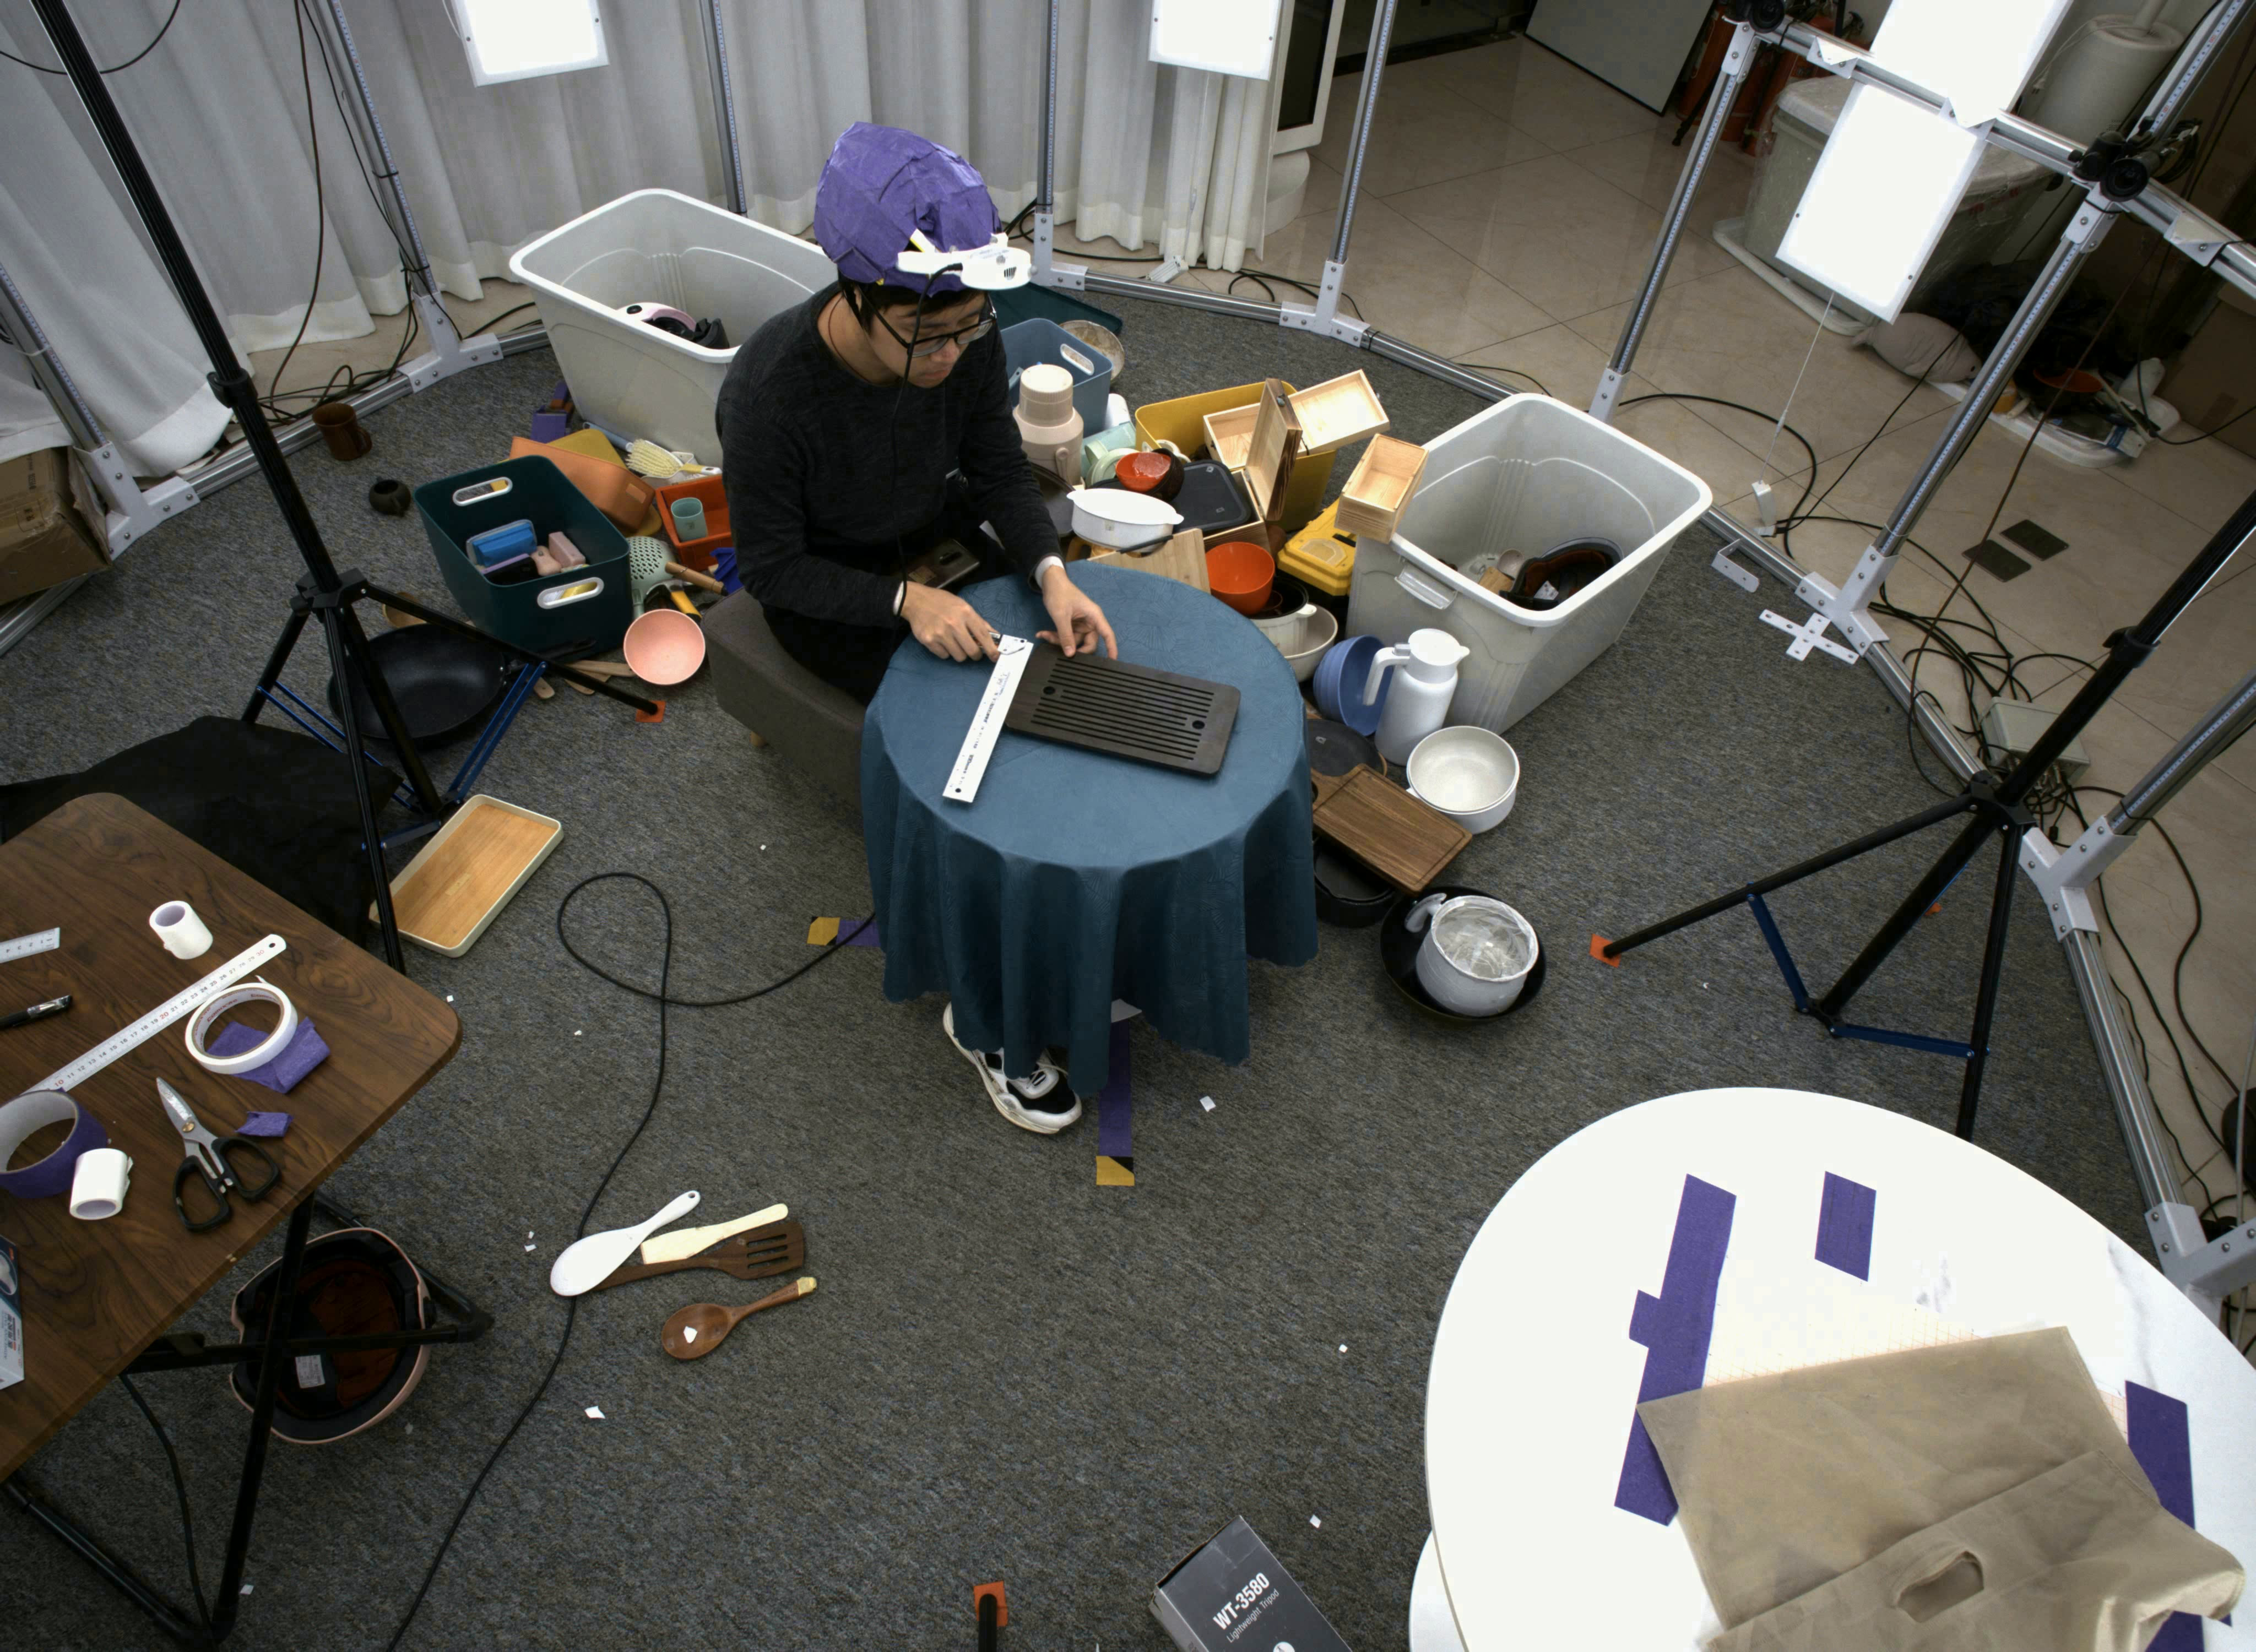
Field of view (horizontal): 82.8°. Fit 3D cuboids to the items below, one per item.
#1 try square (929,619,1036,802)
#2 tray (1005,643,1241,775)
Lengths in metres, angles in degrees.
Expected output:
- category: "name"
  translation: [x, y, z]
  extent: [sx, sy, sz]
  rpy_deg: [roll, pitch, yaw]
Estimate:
- category: "try square"
  translation: [-0.240, -0.166, 1.774]
  extent: [0.152, 0.015, 0.320]
  rpy_deg: [12, 51, 6]
- category: "tray"
  translation: [-0.005, -0.165, 1.798]
  extent: [0.306, 0.018, 0.174]
  rpy_deg: [13, 52, 8]
